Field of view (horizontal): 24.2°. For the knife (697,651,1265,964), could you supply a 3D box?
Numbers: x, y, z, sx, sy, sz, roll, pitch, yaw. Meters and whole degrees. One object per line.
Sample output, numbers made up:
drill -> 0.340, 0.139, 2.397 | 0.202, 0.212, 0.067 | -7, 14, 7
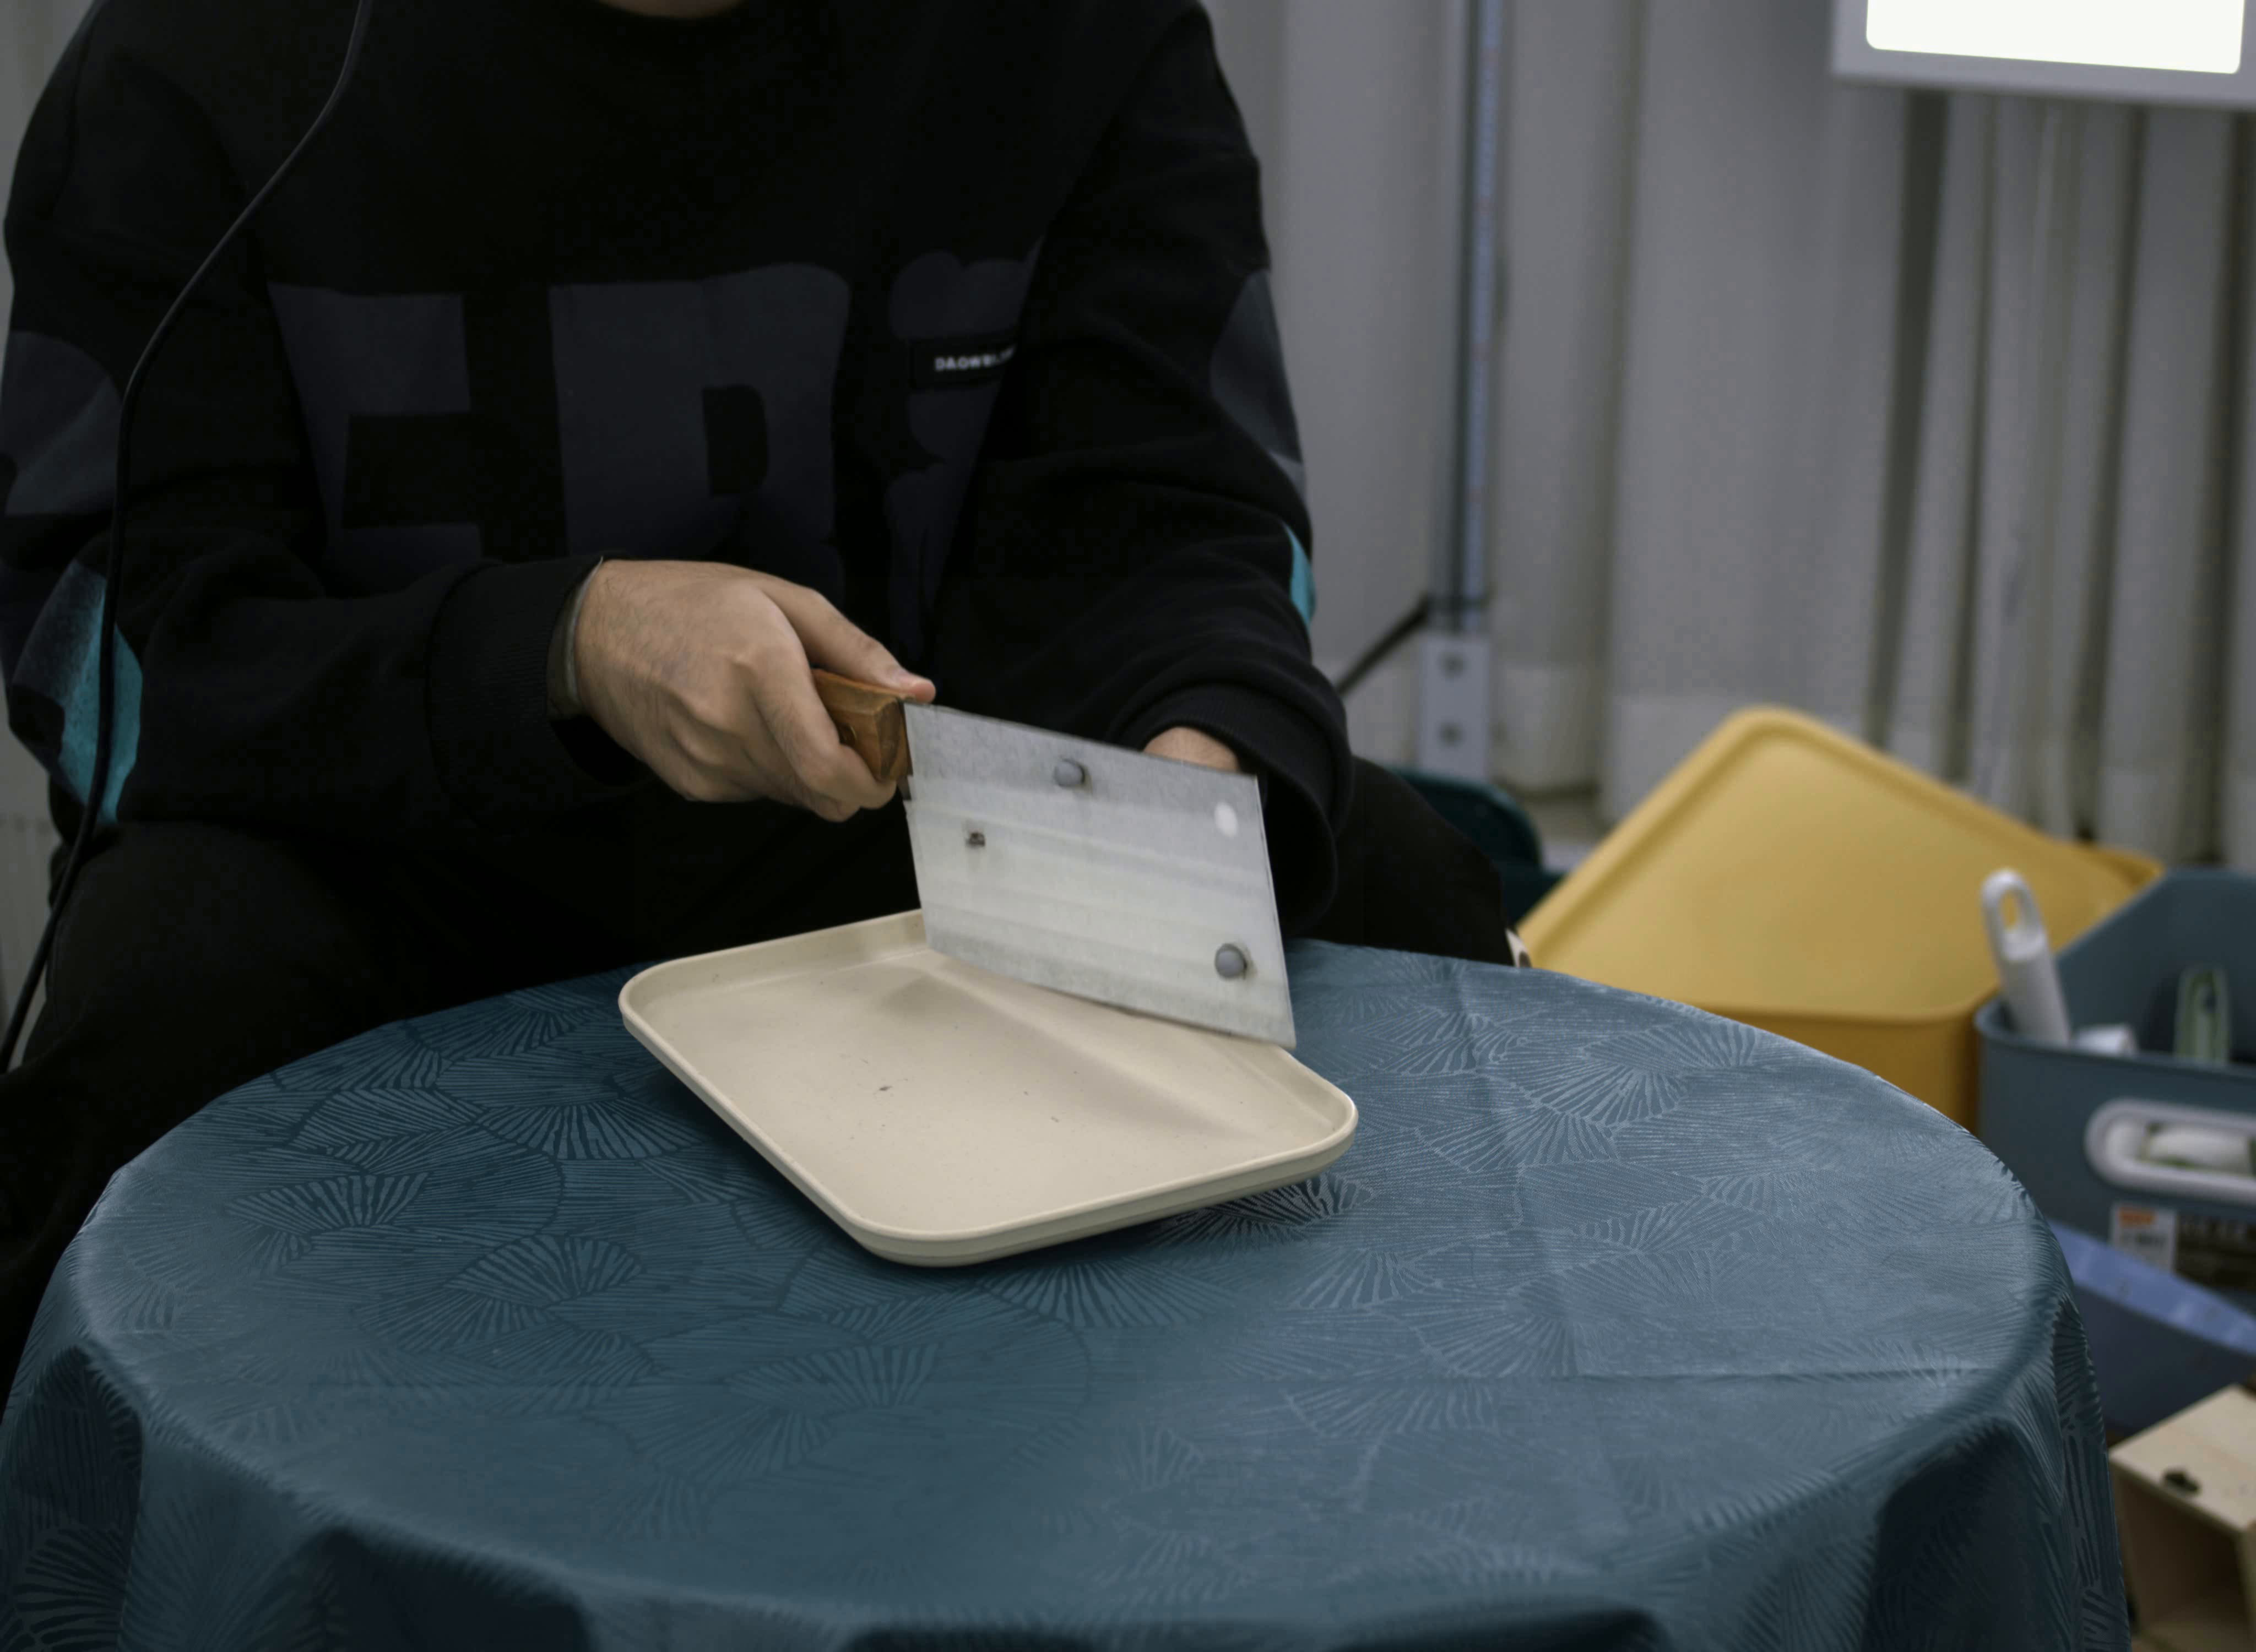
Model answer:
knife -> -0.049, -0.005, 1.710 | 0.021, 0.094, 0.302 | -33, 25, -25

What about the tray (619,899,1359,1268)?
tray -> -0.047, 0.078, 1.662 | 0.172, 0.017, 0.236 | -12, 24, -24
